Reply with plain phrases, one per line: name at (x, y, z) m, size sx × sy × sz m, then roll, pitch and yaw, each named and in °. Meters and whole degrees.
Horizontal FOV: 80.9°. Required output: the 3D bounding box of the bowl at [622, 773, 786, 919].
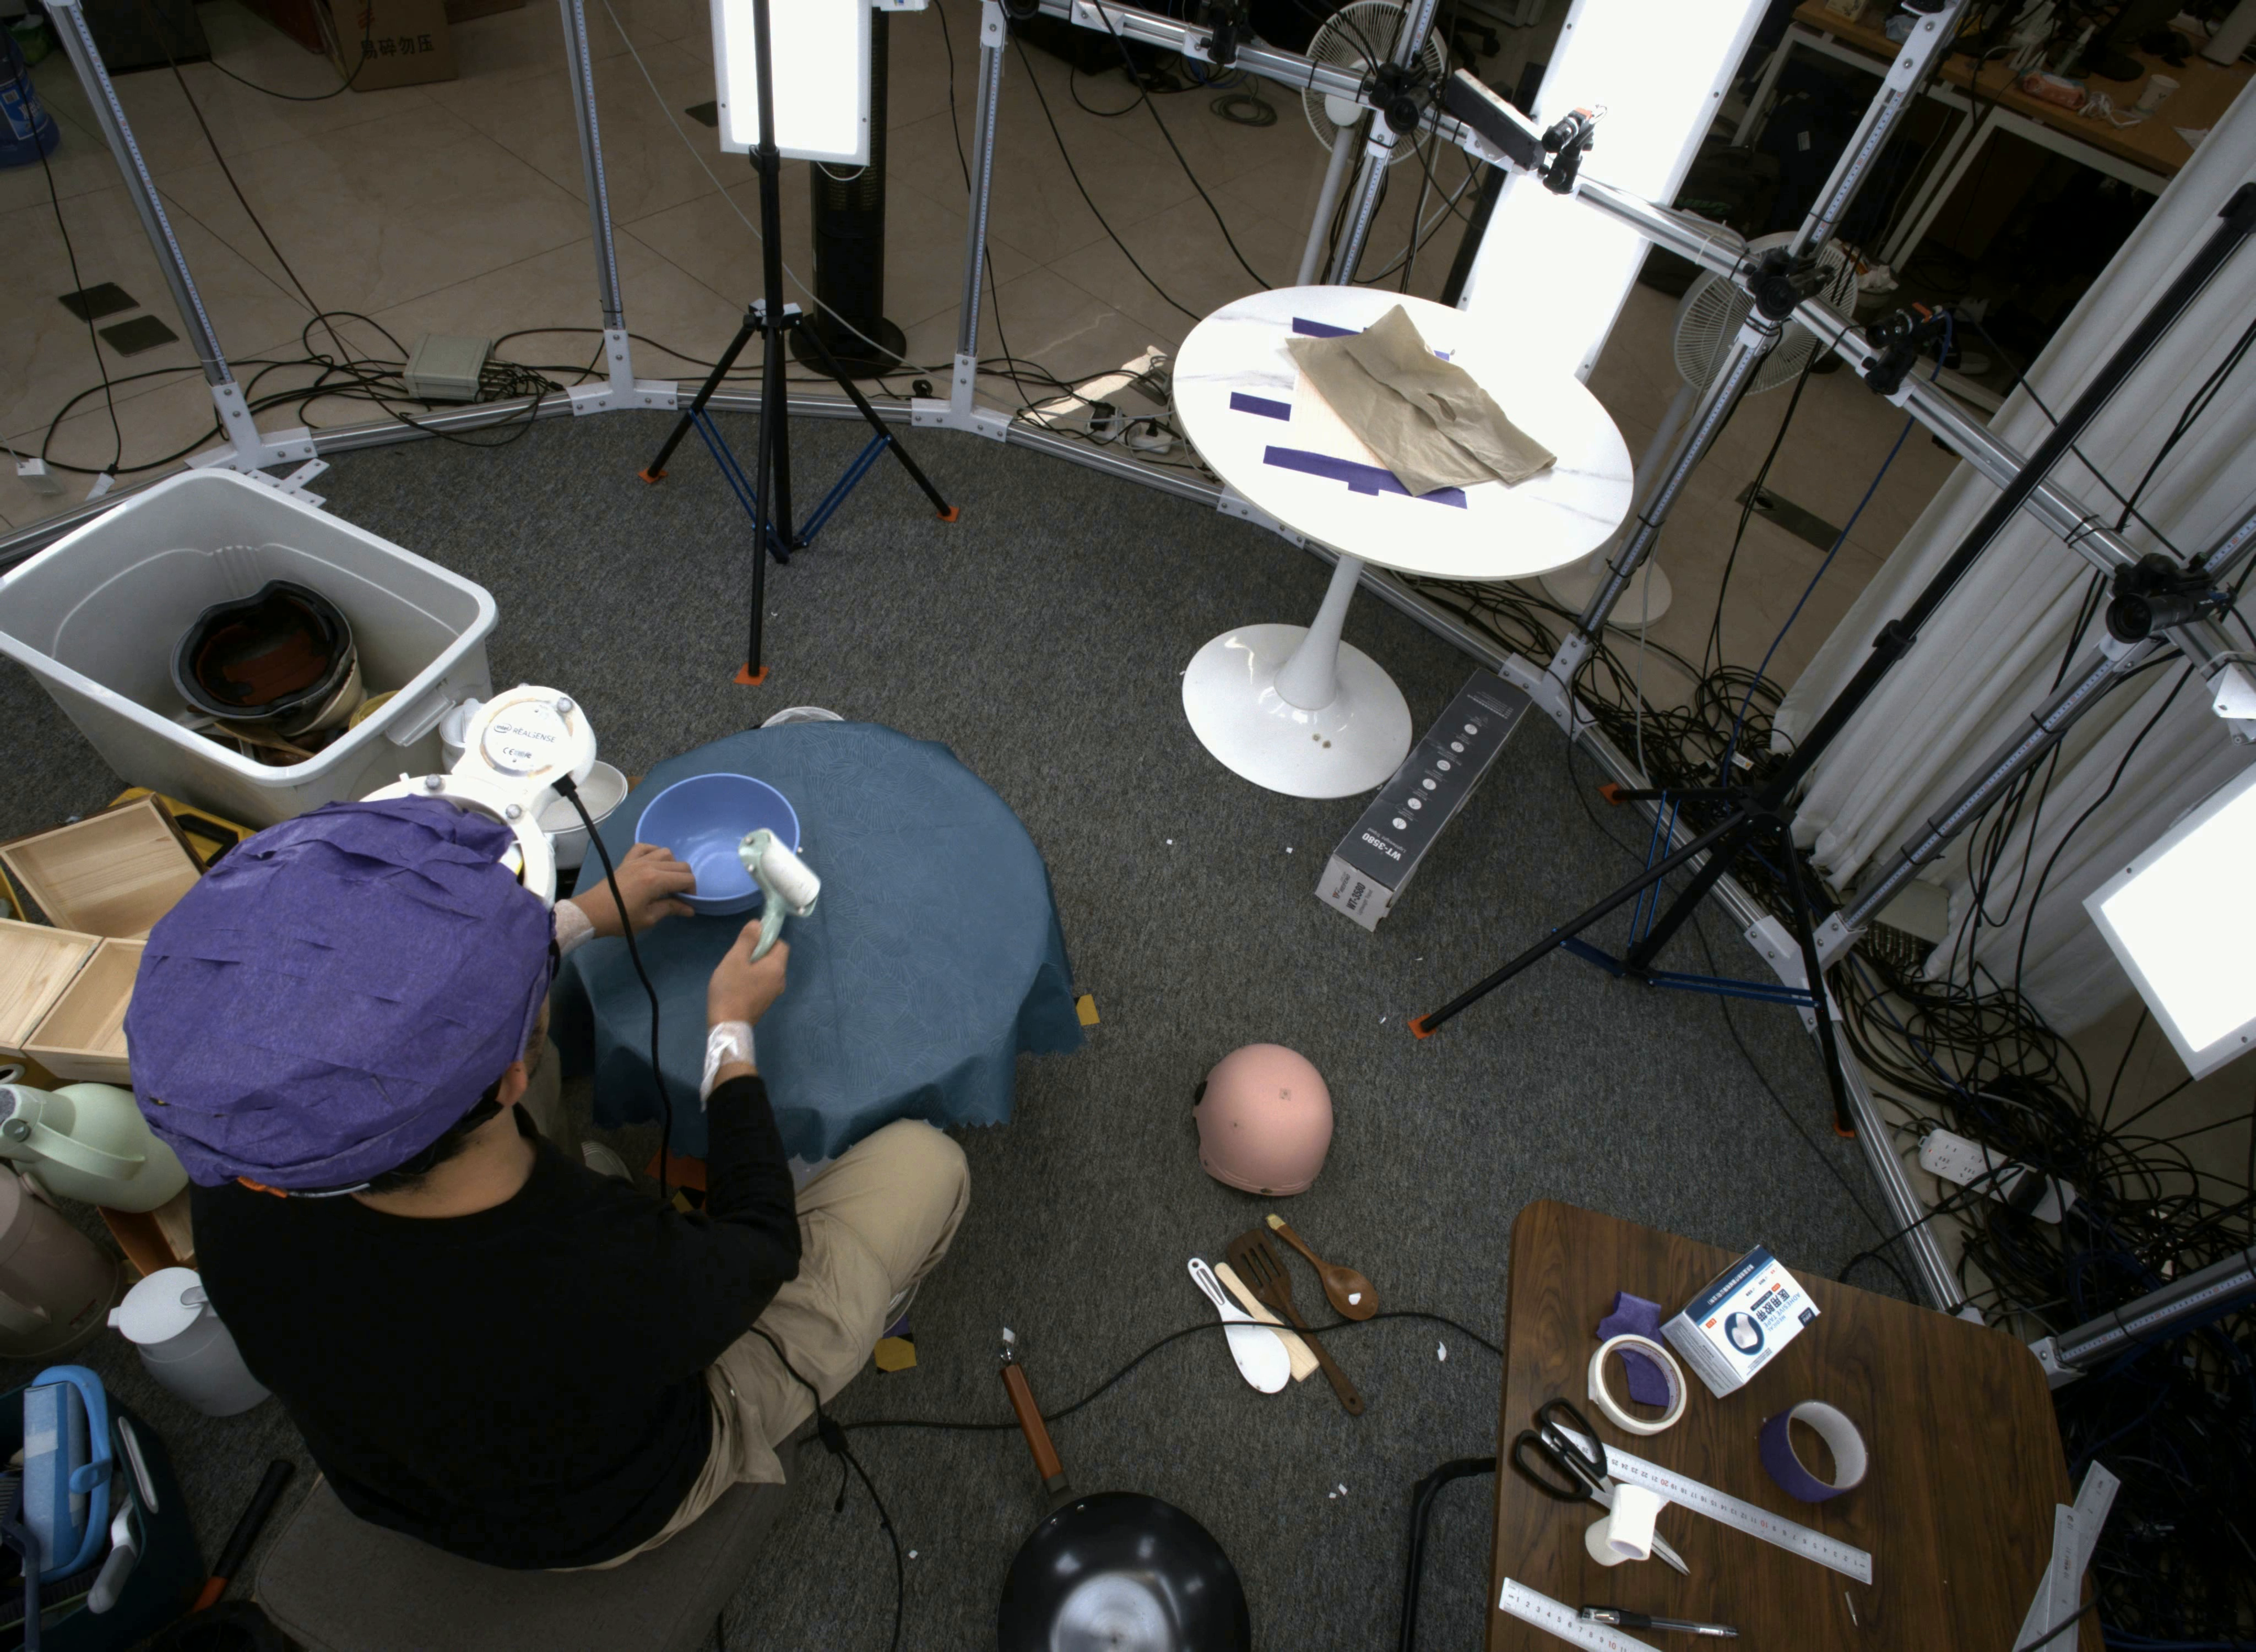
bowl at (-0.523, 0.039, 1.600) m, size 0.196 × 0.097 × 0.193 m, roll 9°, pitch 52°, yaw -9°

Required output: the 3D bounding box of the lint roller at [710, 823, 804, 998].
lint roller at (-0.433, 0.101, 1.472) m, size 0.047 × 0.121 × 0.194 m, roll -10°, pitch 51°, yaw 20°
